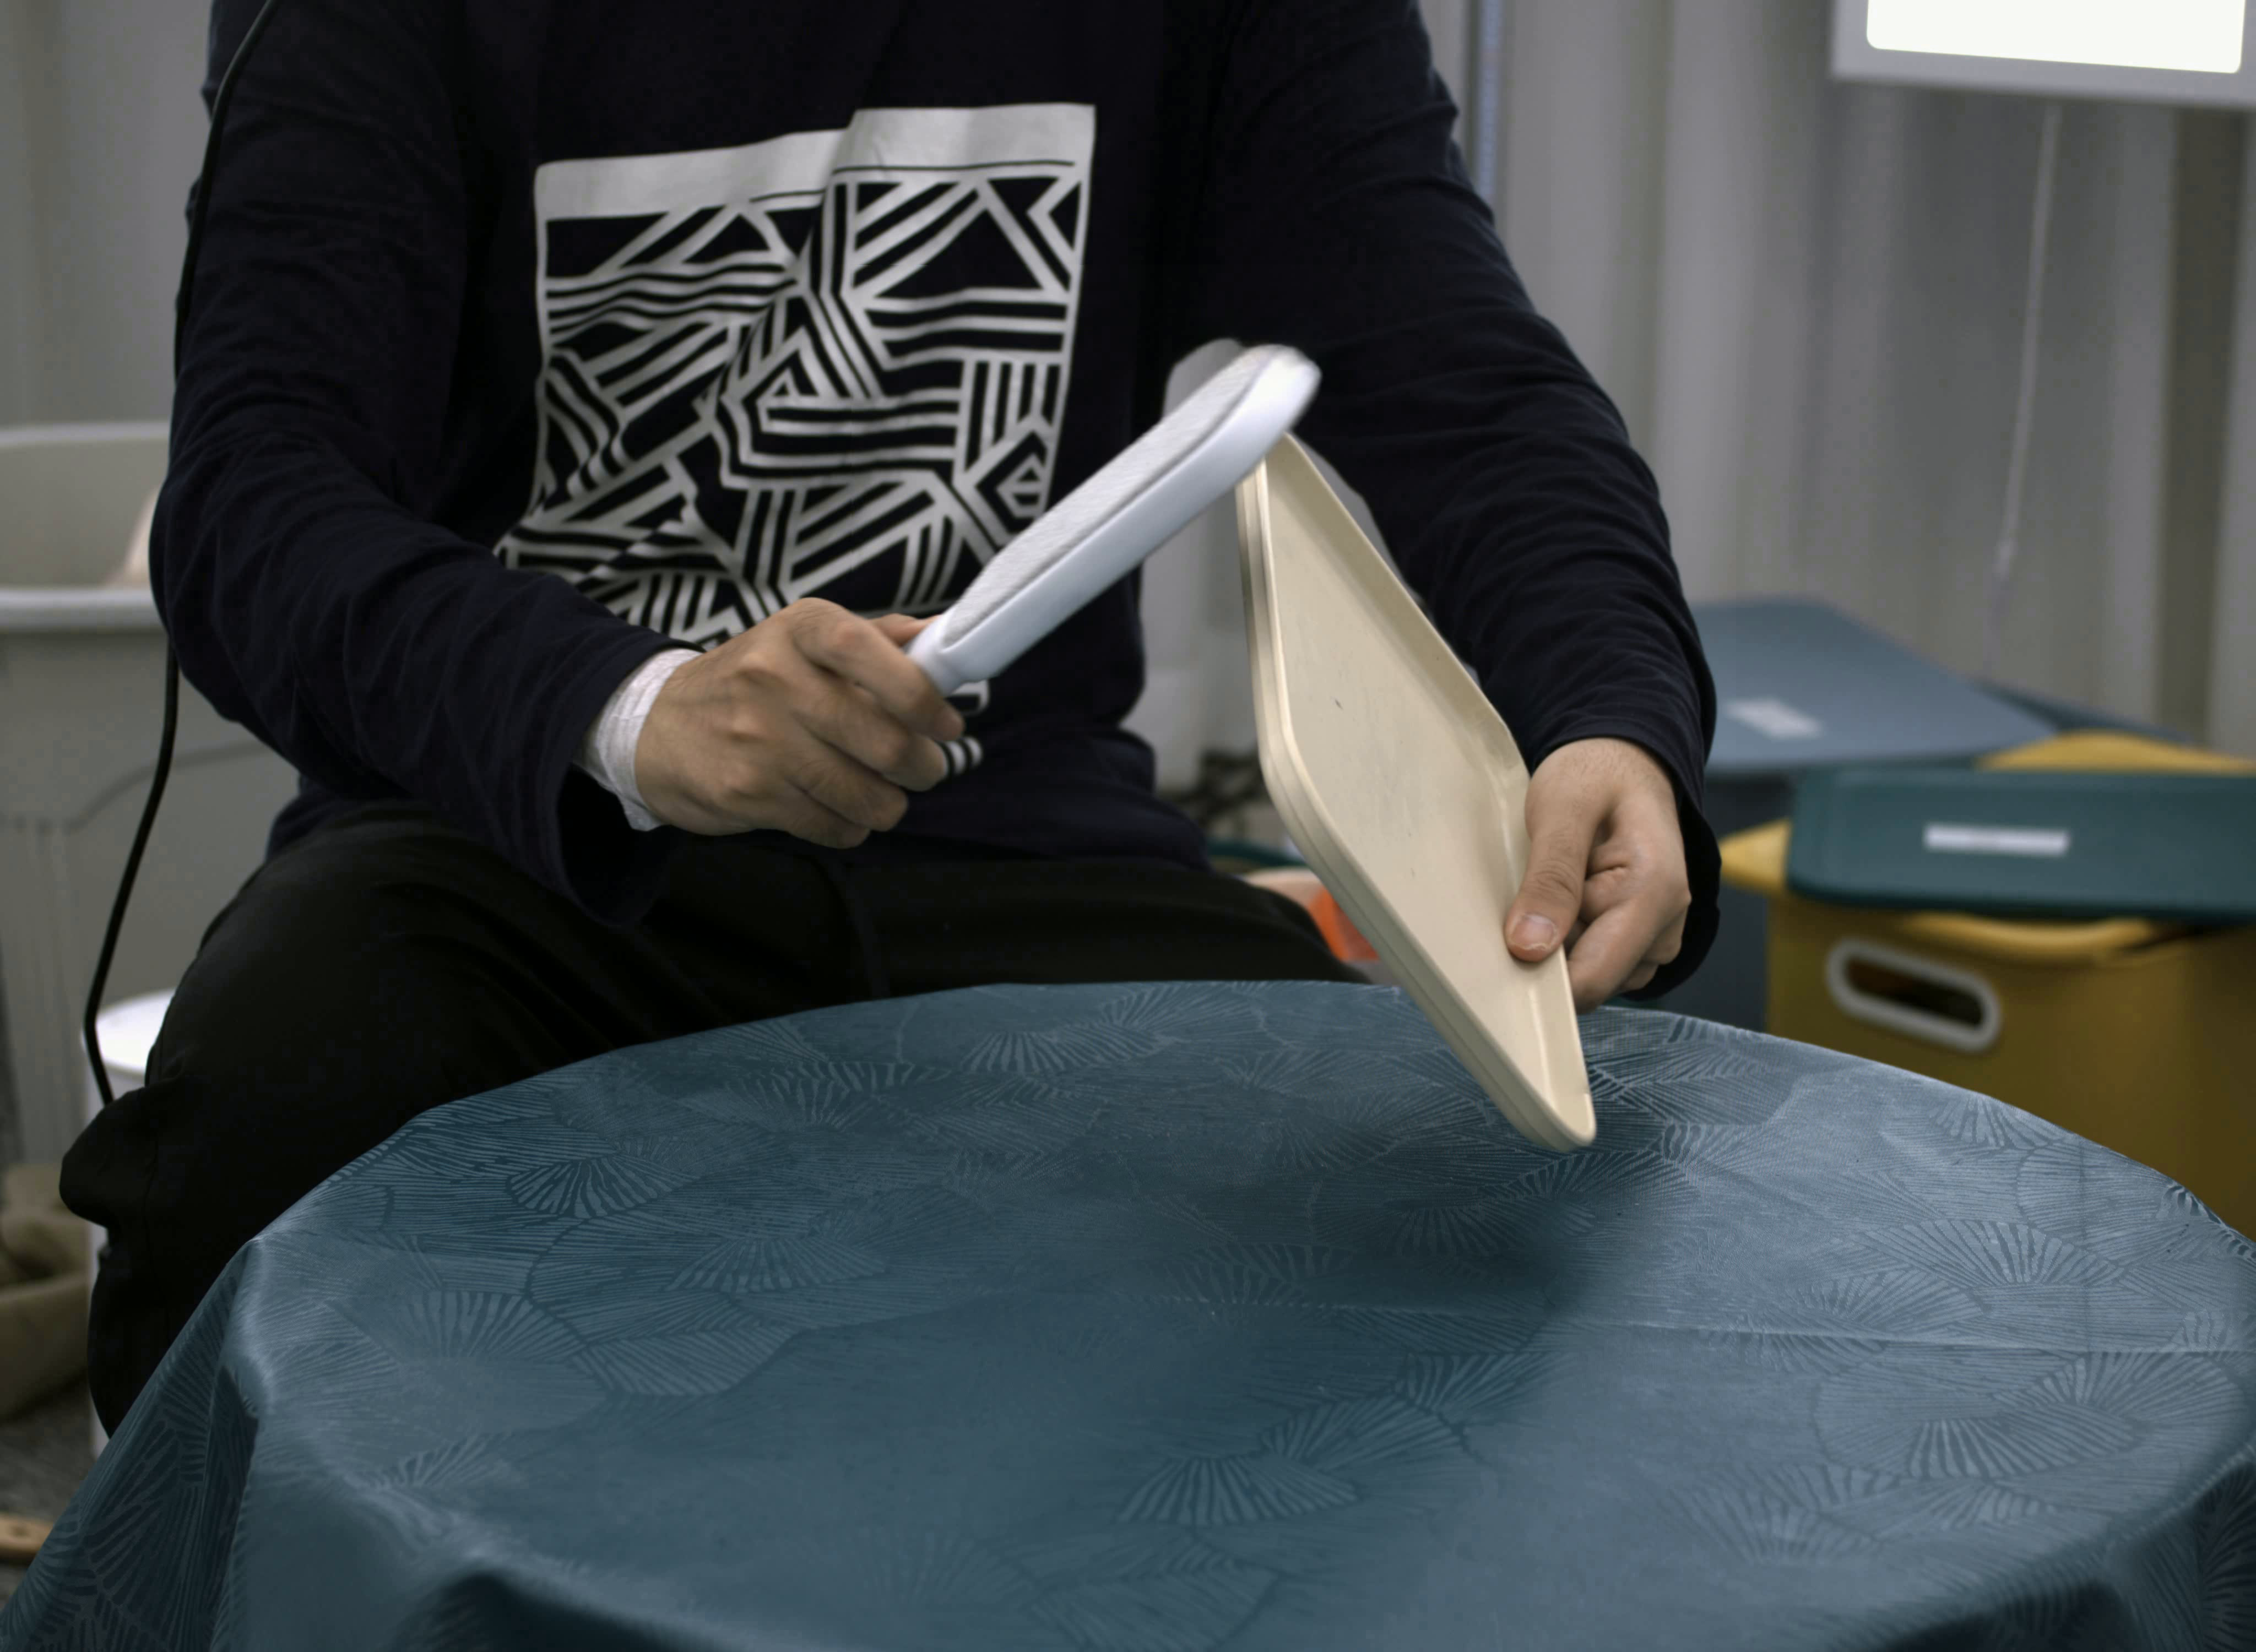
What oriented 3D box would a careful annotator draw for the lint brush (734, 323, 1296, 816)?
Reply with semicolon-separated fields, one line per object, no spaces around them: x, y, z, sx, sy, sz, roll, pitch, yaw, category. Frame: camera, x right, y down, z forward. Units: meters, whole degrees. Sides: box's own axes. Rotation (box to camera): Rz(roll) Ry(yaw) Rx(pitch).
-0.040;-0.072;1.608;0.308;0.021;0.060;-36;23;49;lint brush

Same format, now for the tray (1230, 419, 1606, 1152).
0.084;-0.014;1.601;0.017;0.173;0.237;-31;29;16;tray
